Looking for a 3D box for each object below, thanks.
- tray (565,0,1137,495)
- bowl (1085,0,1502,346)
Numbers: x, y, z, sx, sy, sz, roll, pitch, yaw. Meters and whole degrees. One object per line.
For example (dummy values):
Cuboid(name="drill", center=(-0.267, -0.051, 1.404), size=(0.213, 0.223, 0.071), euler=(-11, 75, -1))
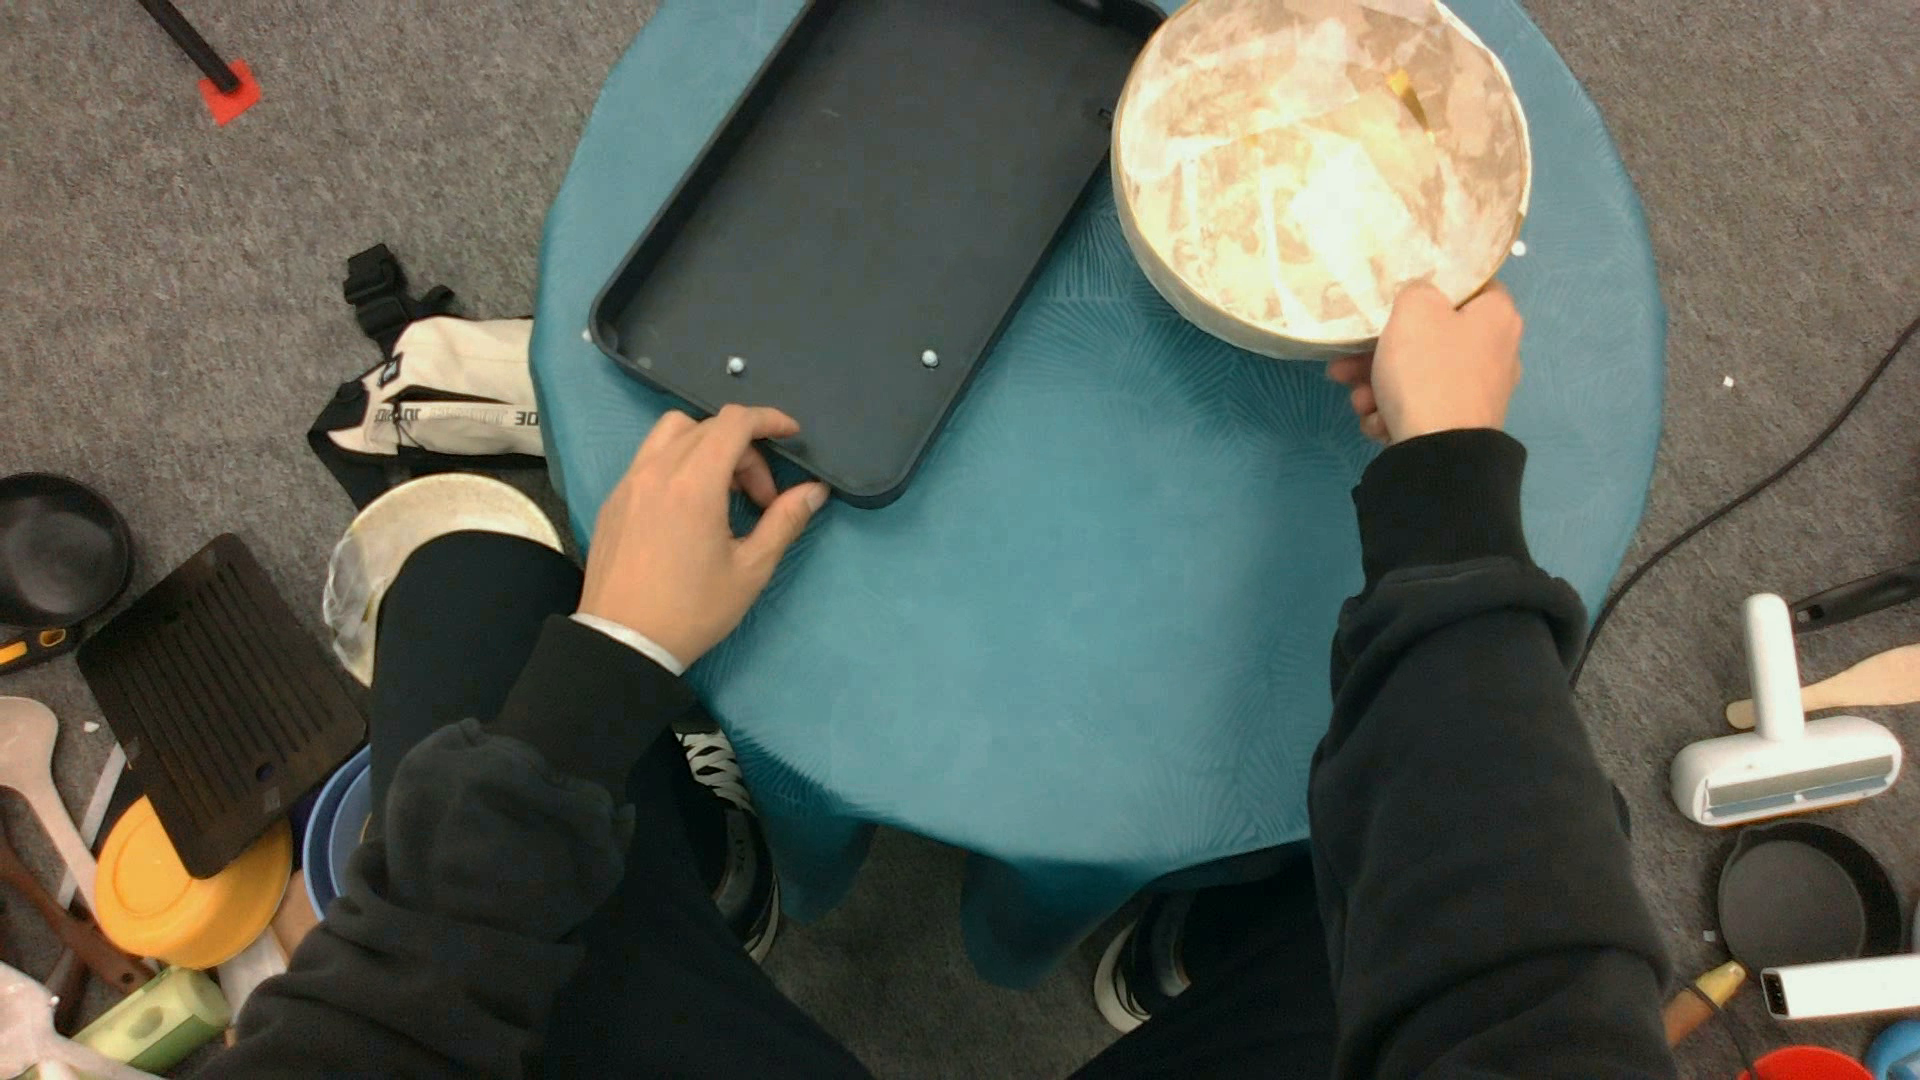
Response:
Cuboid(name="tray", center=(-0.046, -0.191, 0.732), size=(0.184, 0.037, 0.319), euler=(31, 75, 7))
Cuboid(name="bowl", center=(0.156, -0.185, 0.704), size=(0.215, 0.094, 0.215), euler=(1, 77, -5))
